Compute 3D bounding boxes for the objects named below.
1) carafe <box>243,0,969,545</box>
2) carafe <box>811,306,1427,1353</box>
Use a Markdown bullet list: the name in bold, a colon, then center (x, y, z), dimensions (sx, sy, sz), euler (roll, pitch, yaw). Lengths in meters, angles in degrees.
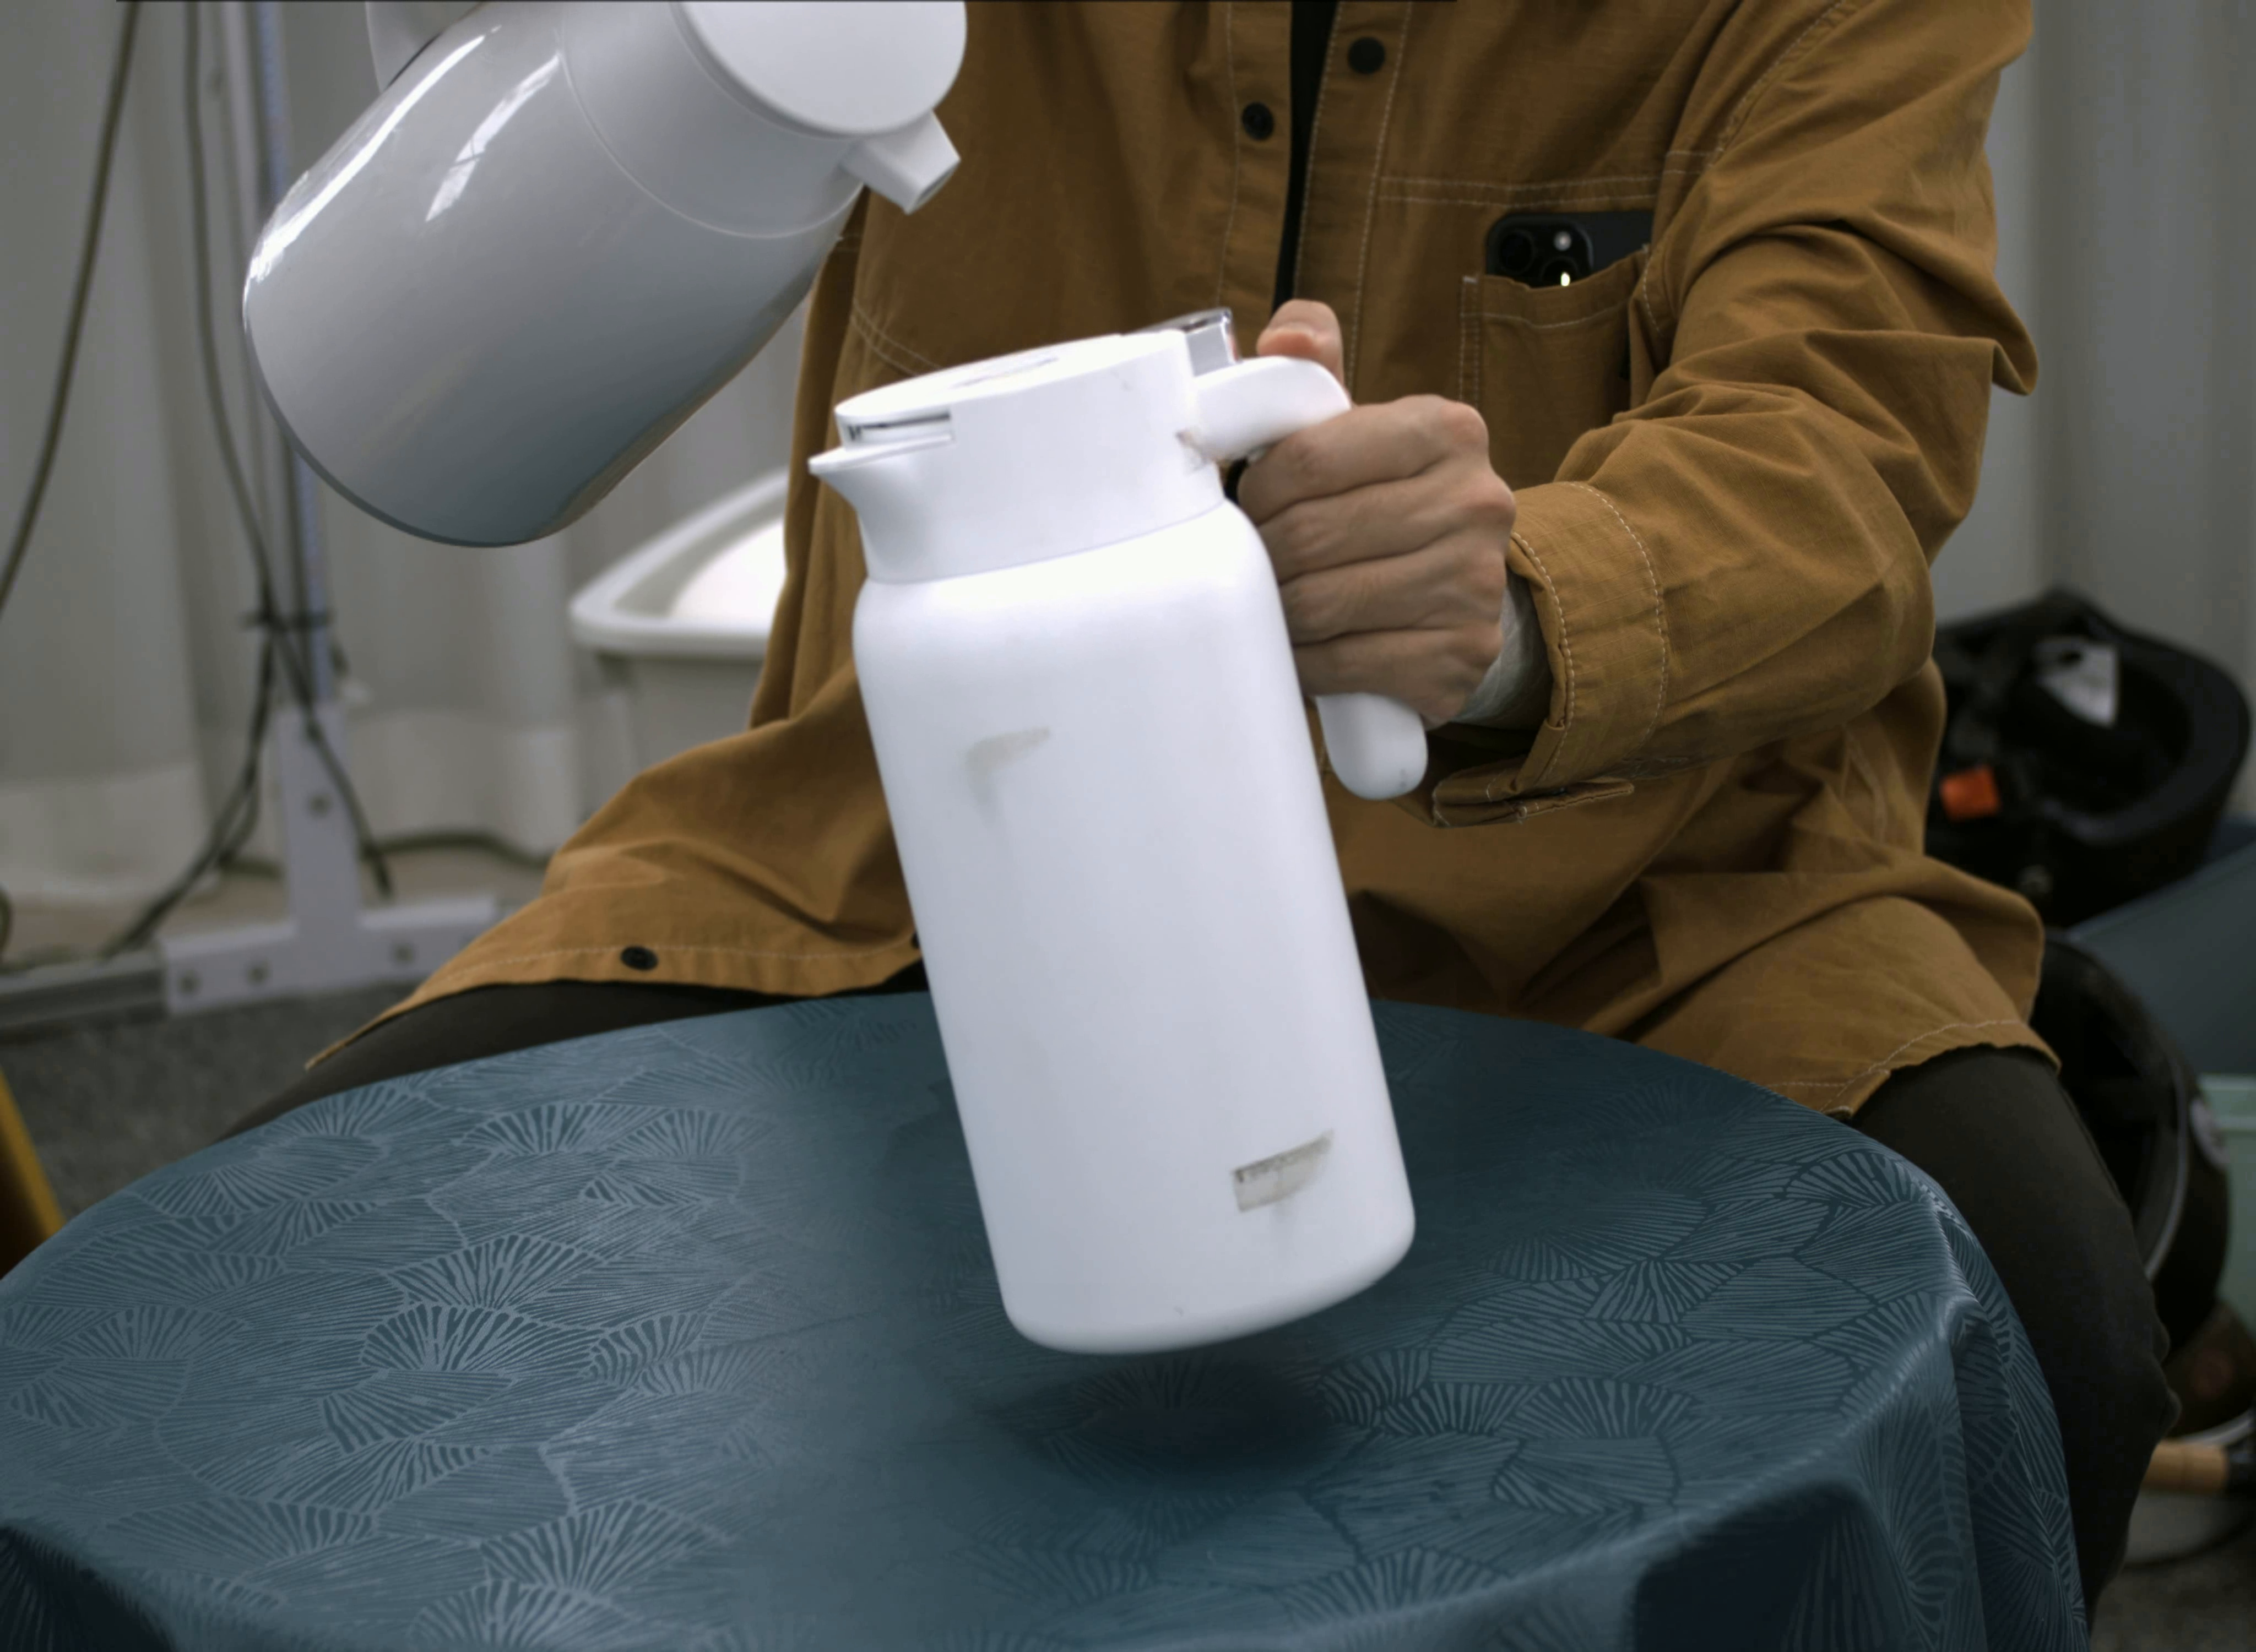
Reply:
- **carafe**: center (-0.156, -0.203, 1.566), dimensions (0.133, 0.167, 0.247), euler (-45, 6, -39)
- **carafe**: center (0.009, -0.003, 1.506), dimensions (0.172, 0.268, 0.124), euler (-19, 9, -36)
